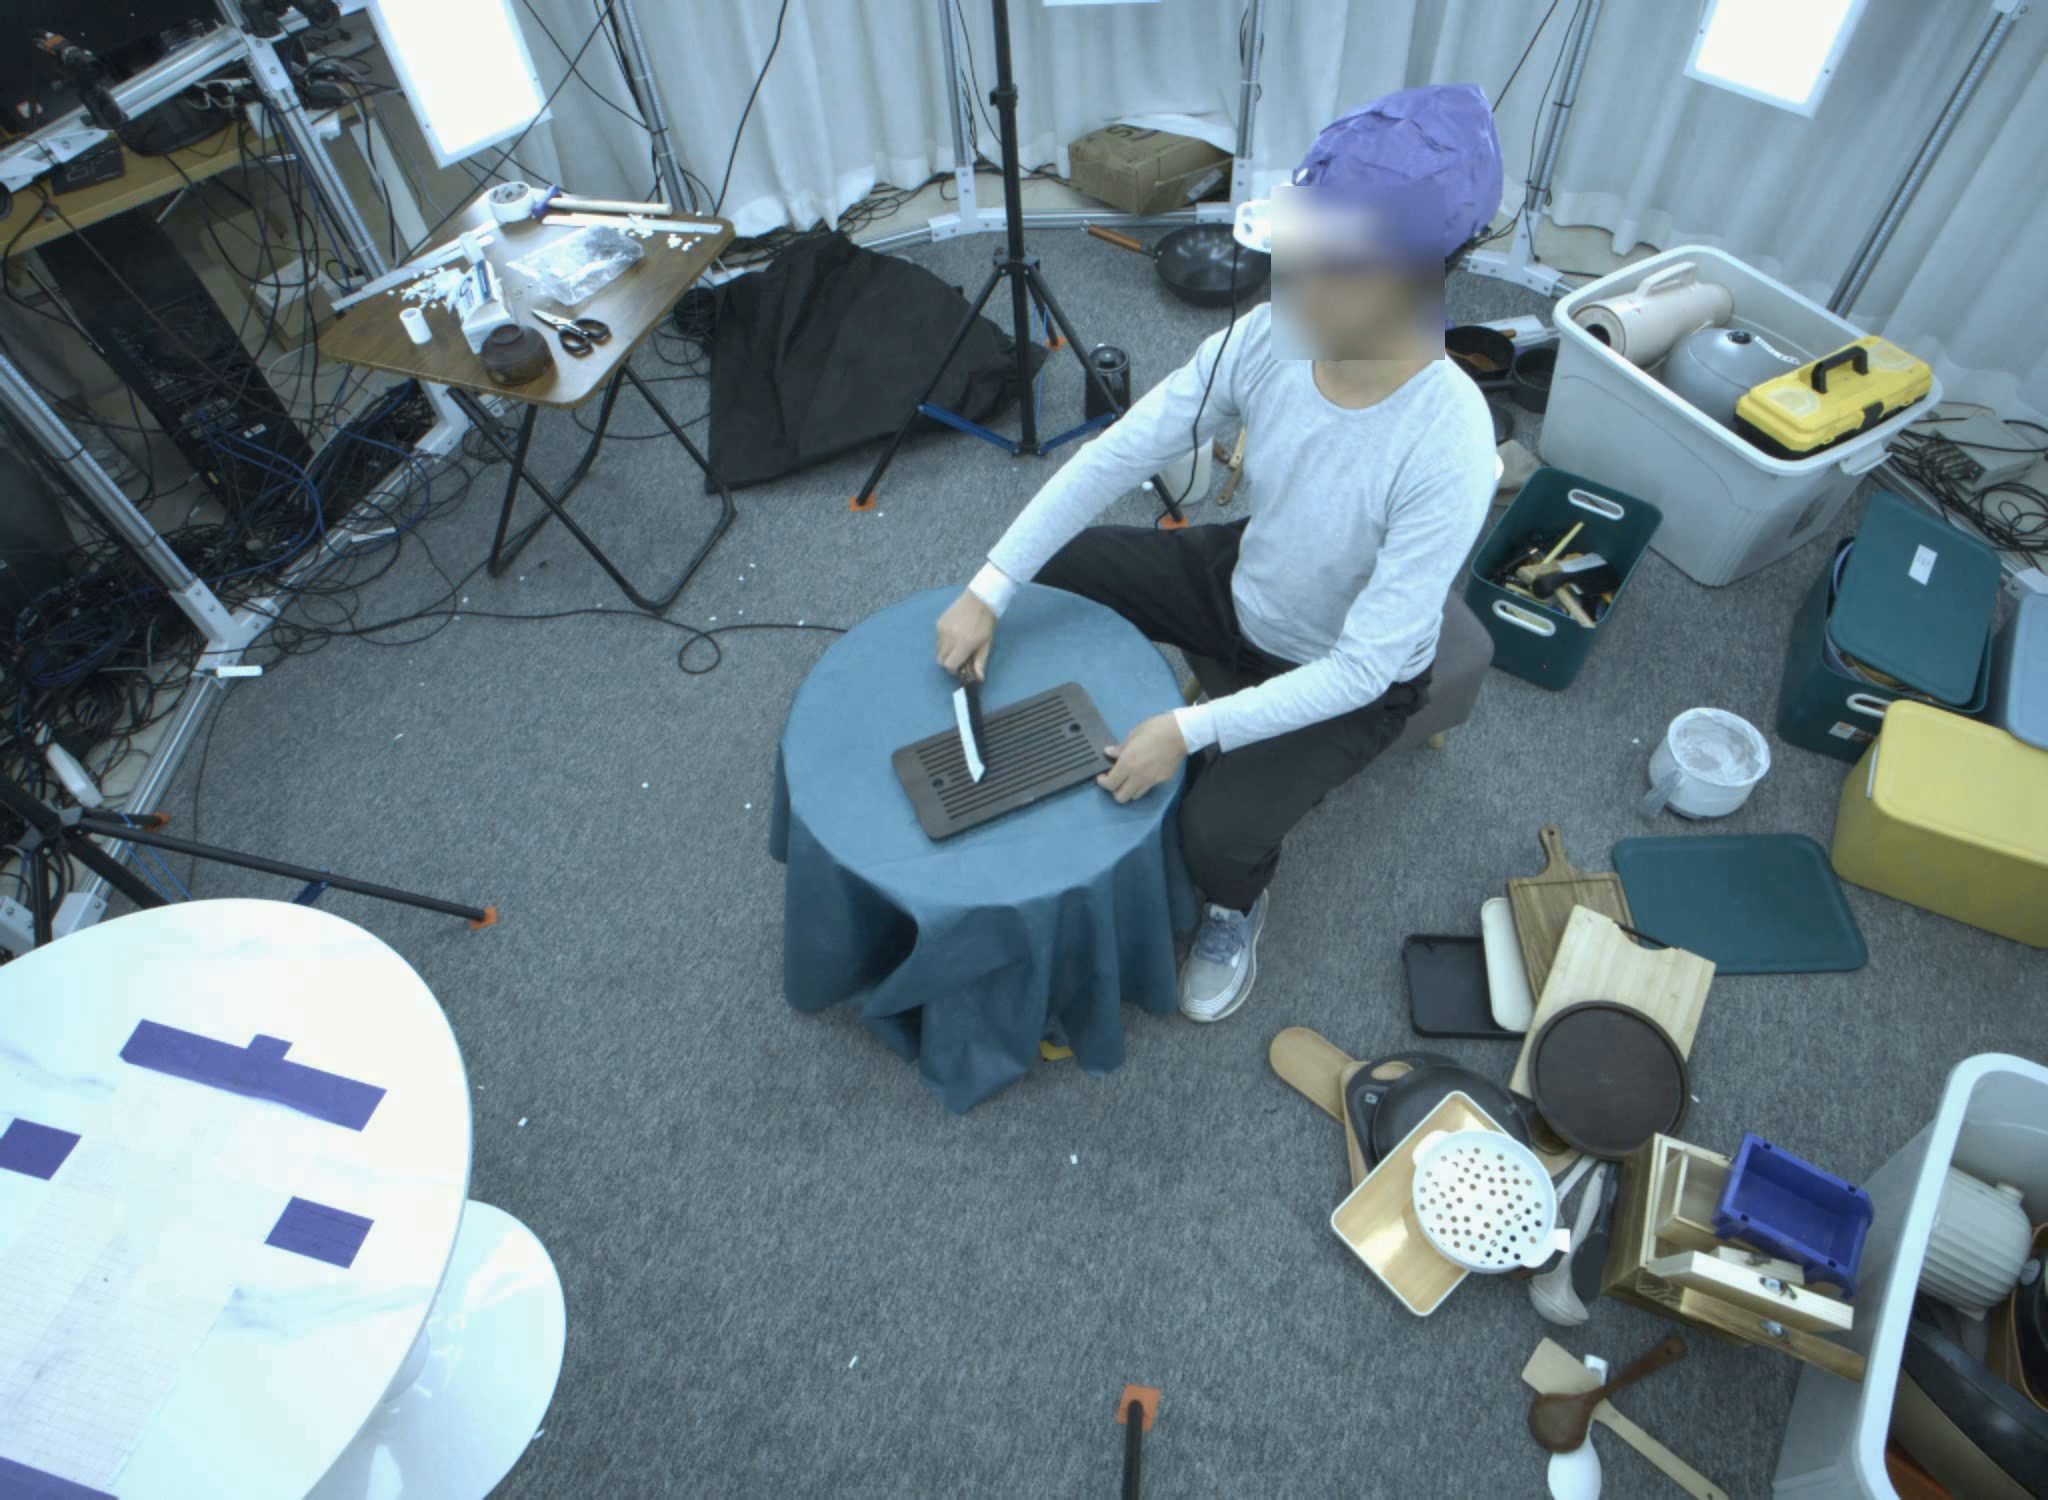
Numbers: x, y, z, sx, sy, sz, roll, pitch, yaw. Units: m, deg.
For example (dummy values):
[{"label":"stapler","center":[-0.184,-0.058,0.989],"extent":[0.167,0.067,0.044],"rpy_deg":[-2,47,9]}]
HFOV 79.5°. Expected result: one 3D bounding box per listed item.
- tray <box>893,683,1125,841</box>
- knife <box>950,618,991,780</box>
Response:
[{"label":"tray","center":[-0.022,0.015,1.774],"extent":[0.308,0.019,0.167],"rpy_deg":[-21,56,-14]},{"label":"knife","center":[-0.080,-0.079,1.812],"extent":[0.049,0.020,0.285],"rpy_deg":[-31,53,30]}]
